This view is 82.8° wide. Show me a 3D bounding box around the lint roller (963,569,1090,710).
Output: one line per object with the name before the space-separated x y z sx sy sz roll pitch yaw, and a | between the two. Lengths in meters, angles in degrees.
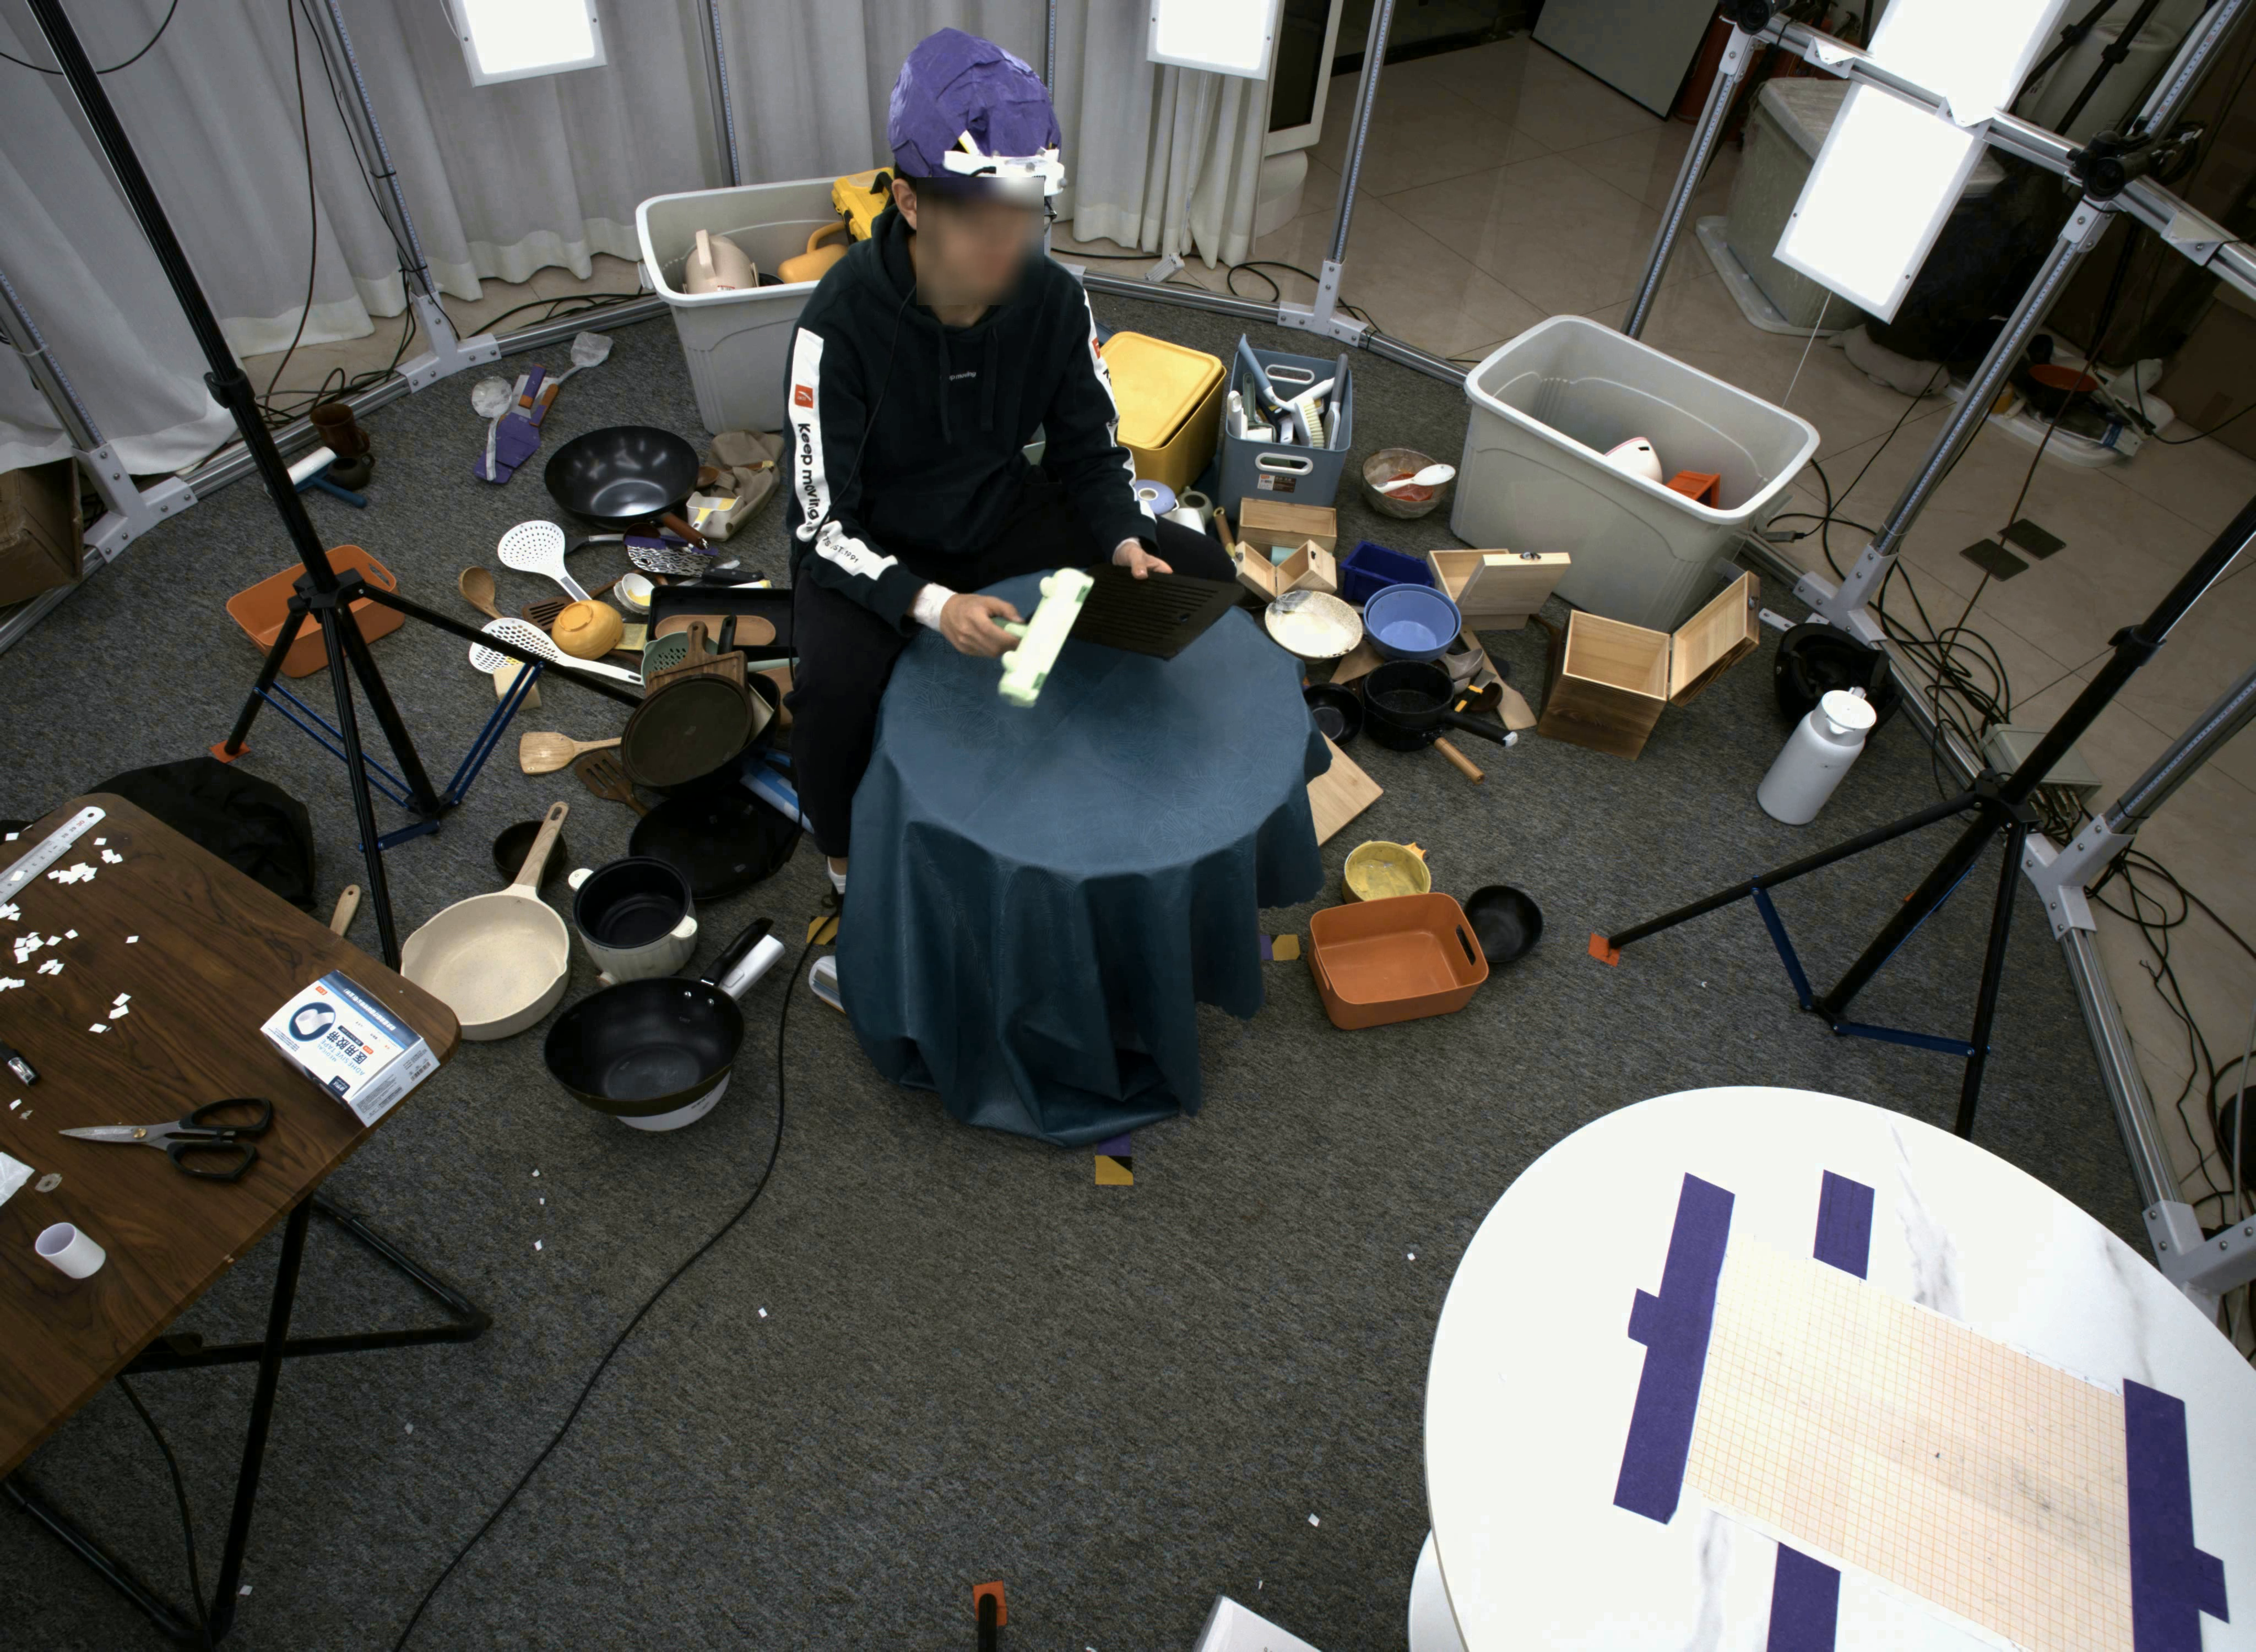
lint roller | -0.163 -0.265 1.731 0.185 0.080 0.200 17 73 30

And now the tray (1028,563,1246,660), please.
tray | 0.008 -0.305 1.810 0.309 0.018 0.172 19 53 44
